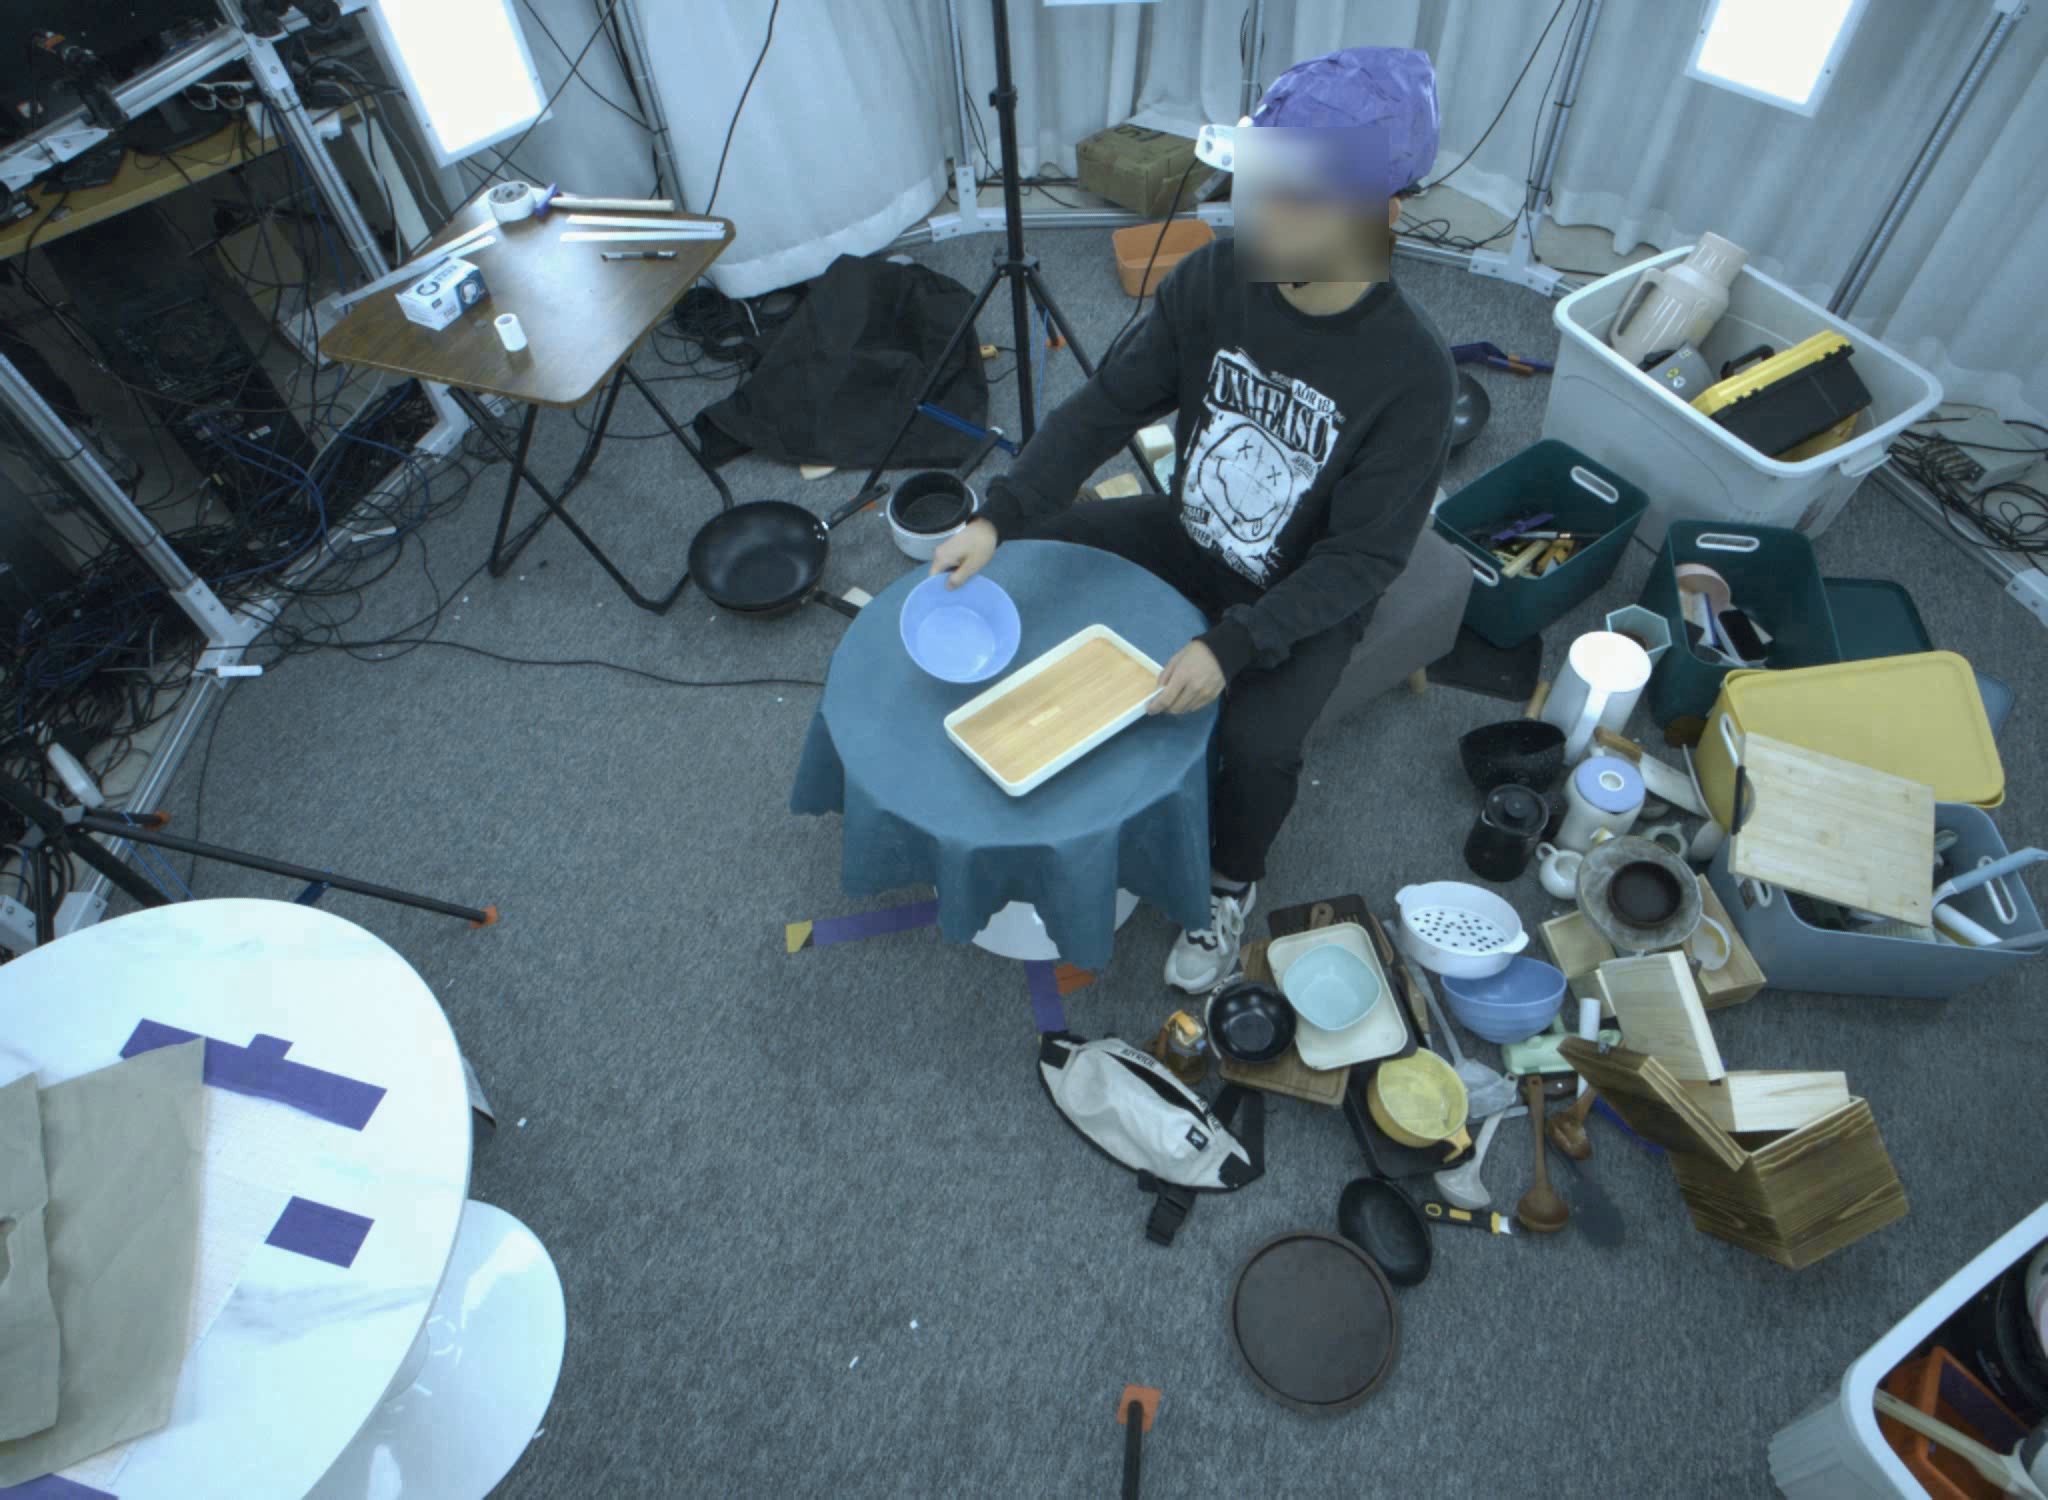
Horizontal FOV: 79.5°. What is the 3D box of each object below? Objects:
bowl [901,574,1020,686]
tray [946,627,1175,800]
[{"bbox_3d":[-0.097,-0.167,1.813,0.177,0.070,0.175,4,73,-11],"label":"bowl"},{"bbox_3d":[0.054,-0.059,1.798,0.302,0.028,0.187,-34,50,-18],"label":"tray"}]
